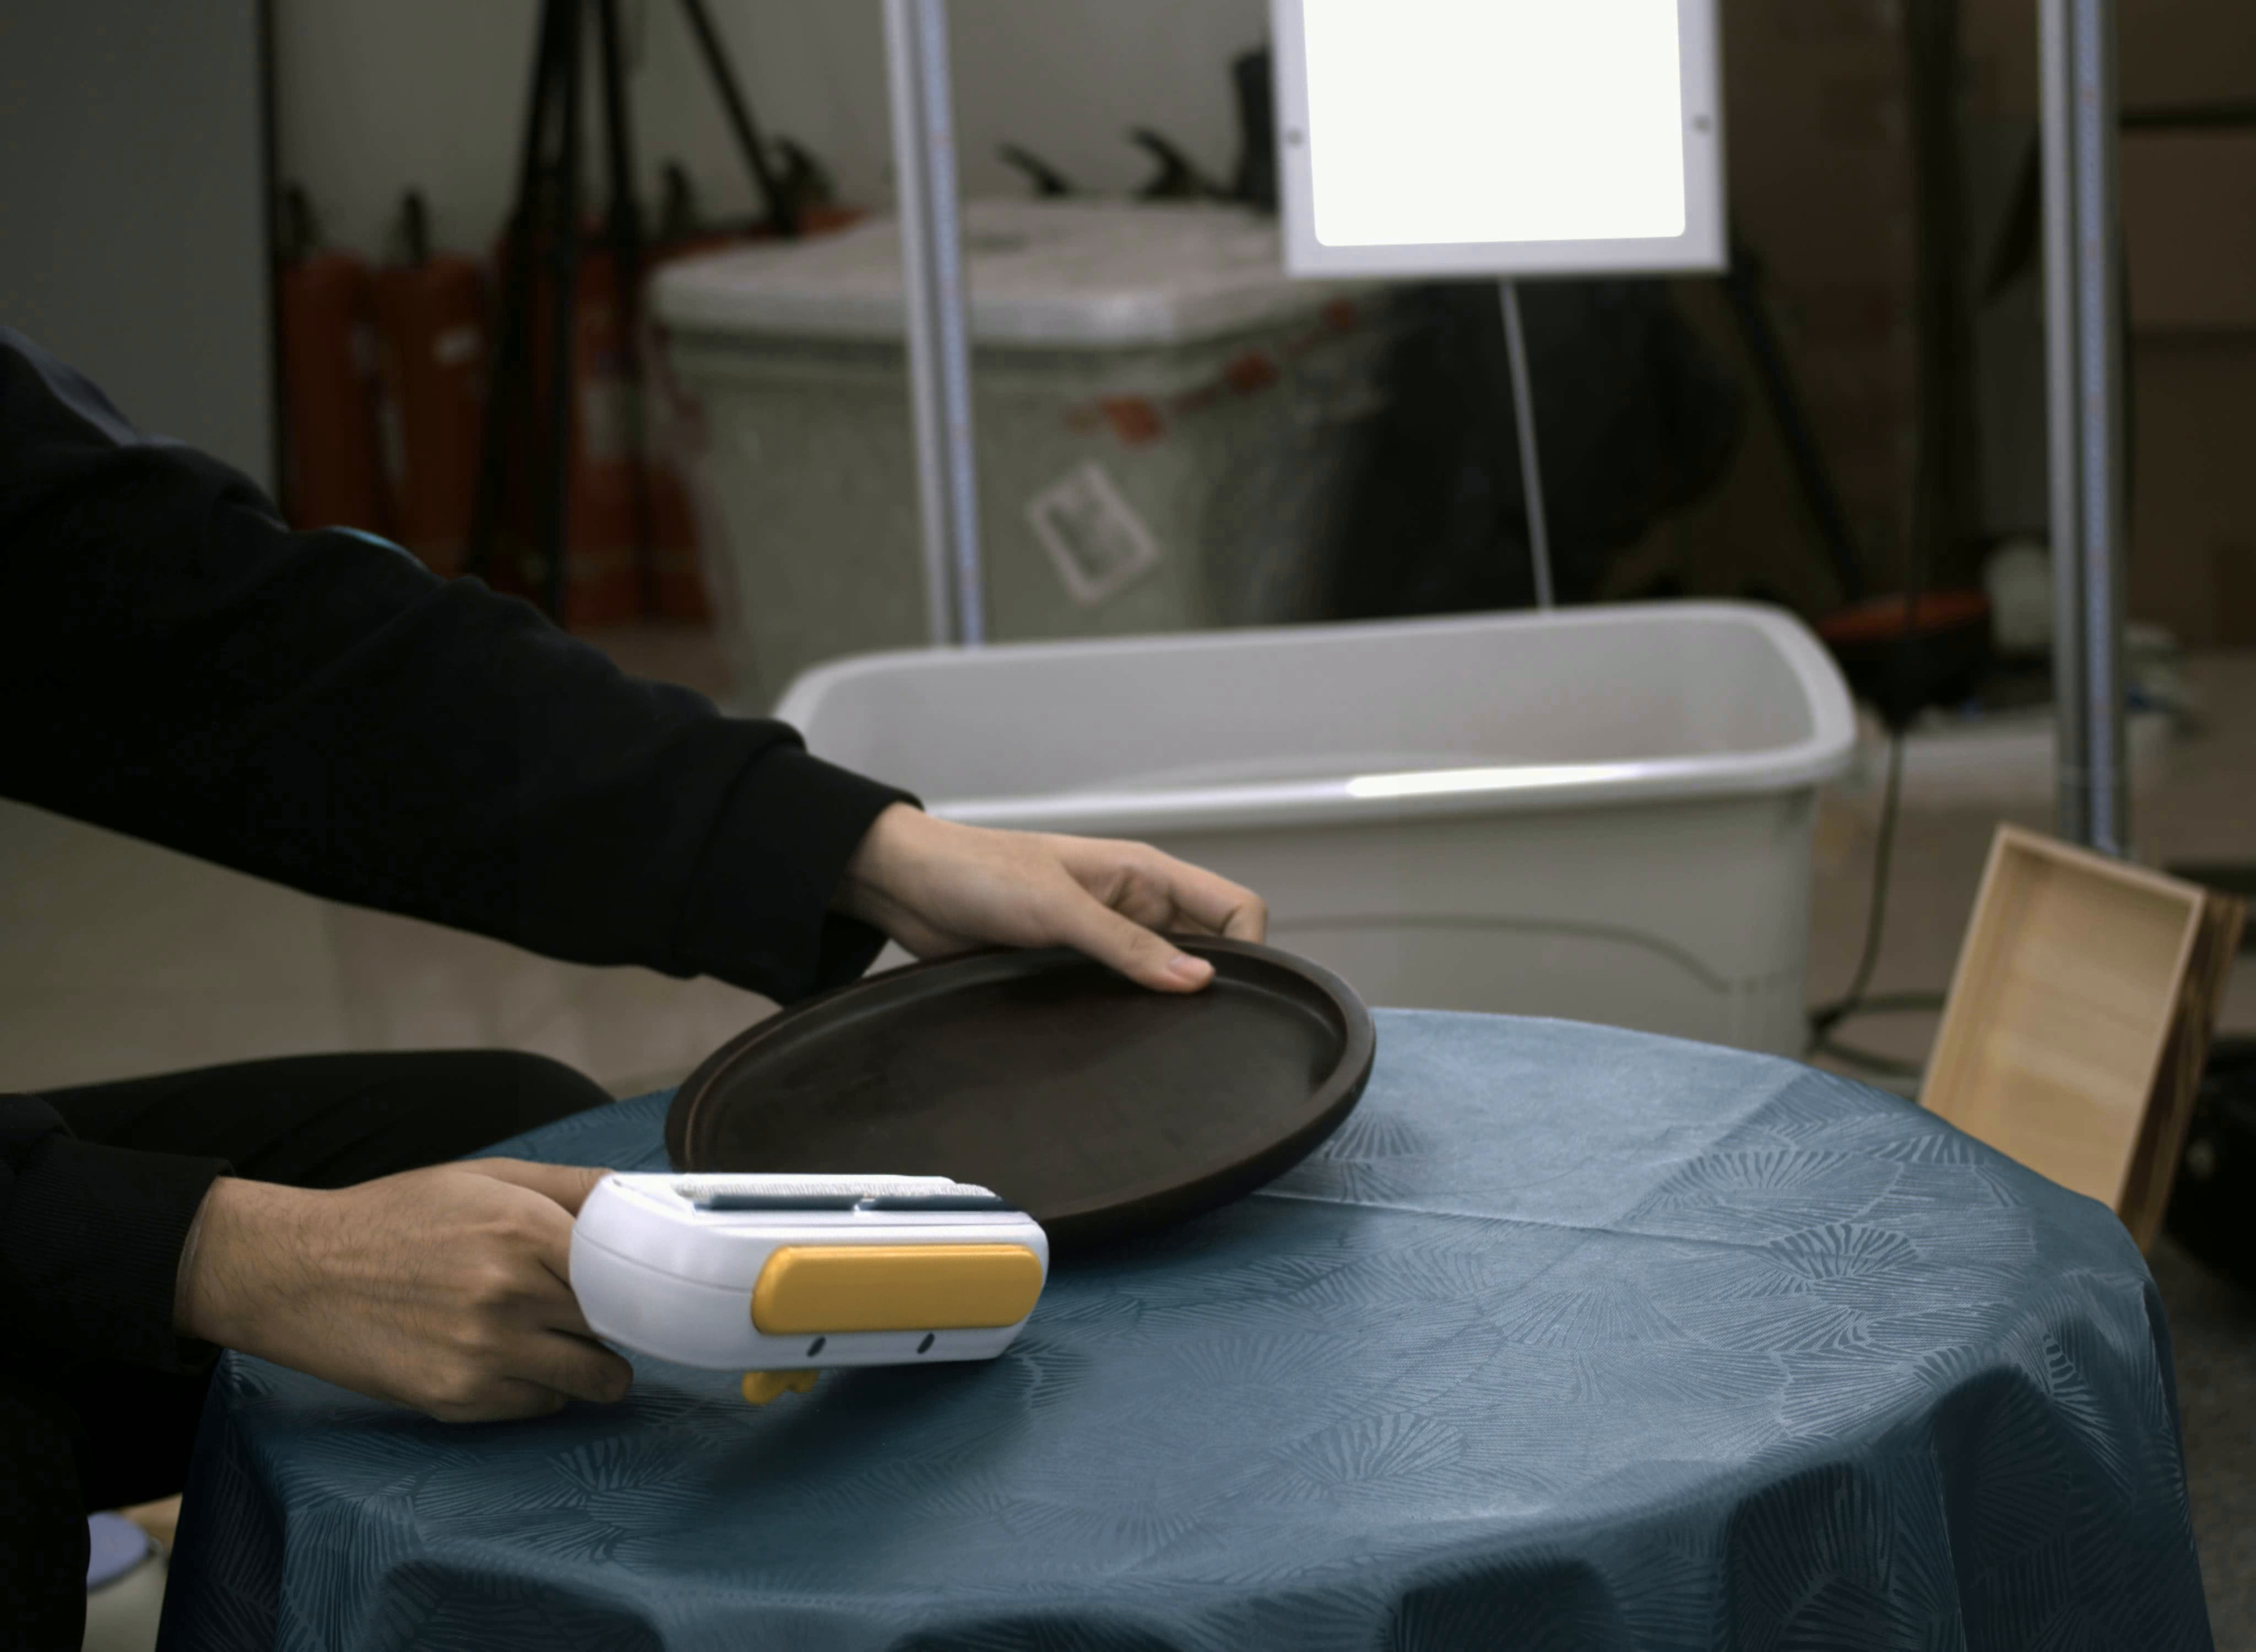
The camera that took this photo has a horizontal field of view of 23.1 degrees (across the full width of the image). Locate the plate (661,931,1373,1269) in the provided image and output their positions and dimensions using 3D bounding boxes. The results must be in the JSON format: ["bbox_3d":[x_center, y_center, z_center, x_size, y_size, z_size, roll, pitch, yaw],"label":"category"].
[{"bbox_3d":[-0.038,0.096,1.925,0.255,0.029,0.254,-11,19,3],"label":"plate"}]

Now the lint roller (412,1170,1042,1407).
[{"bbox_3d":[-0.147,0.134,1.722,0.196,0.074,0.188,9,6,39],"label":"lint roller"}]
